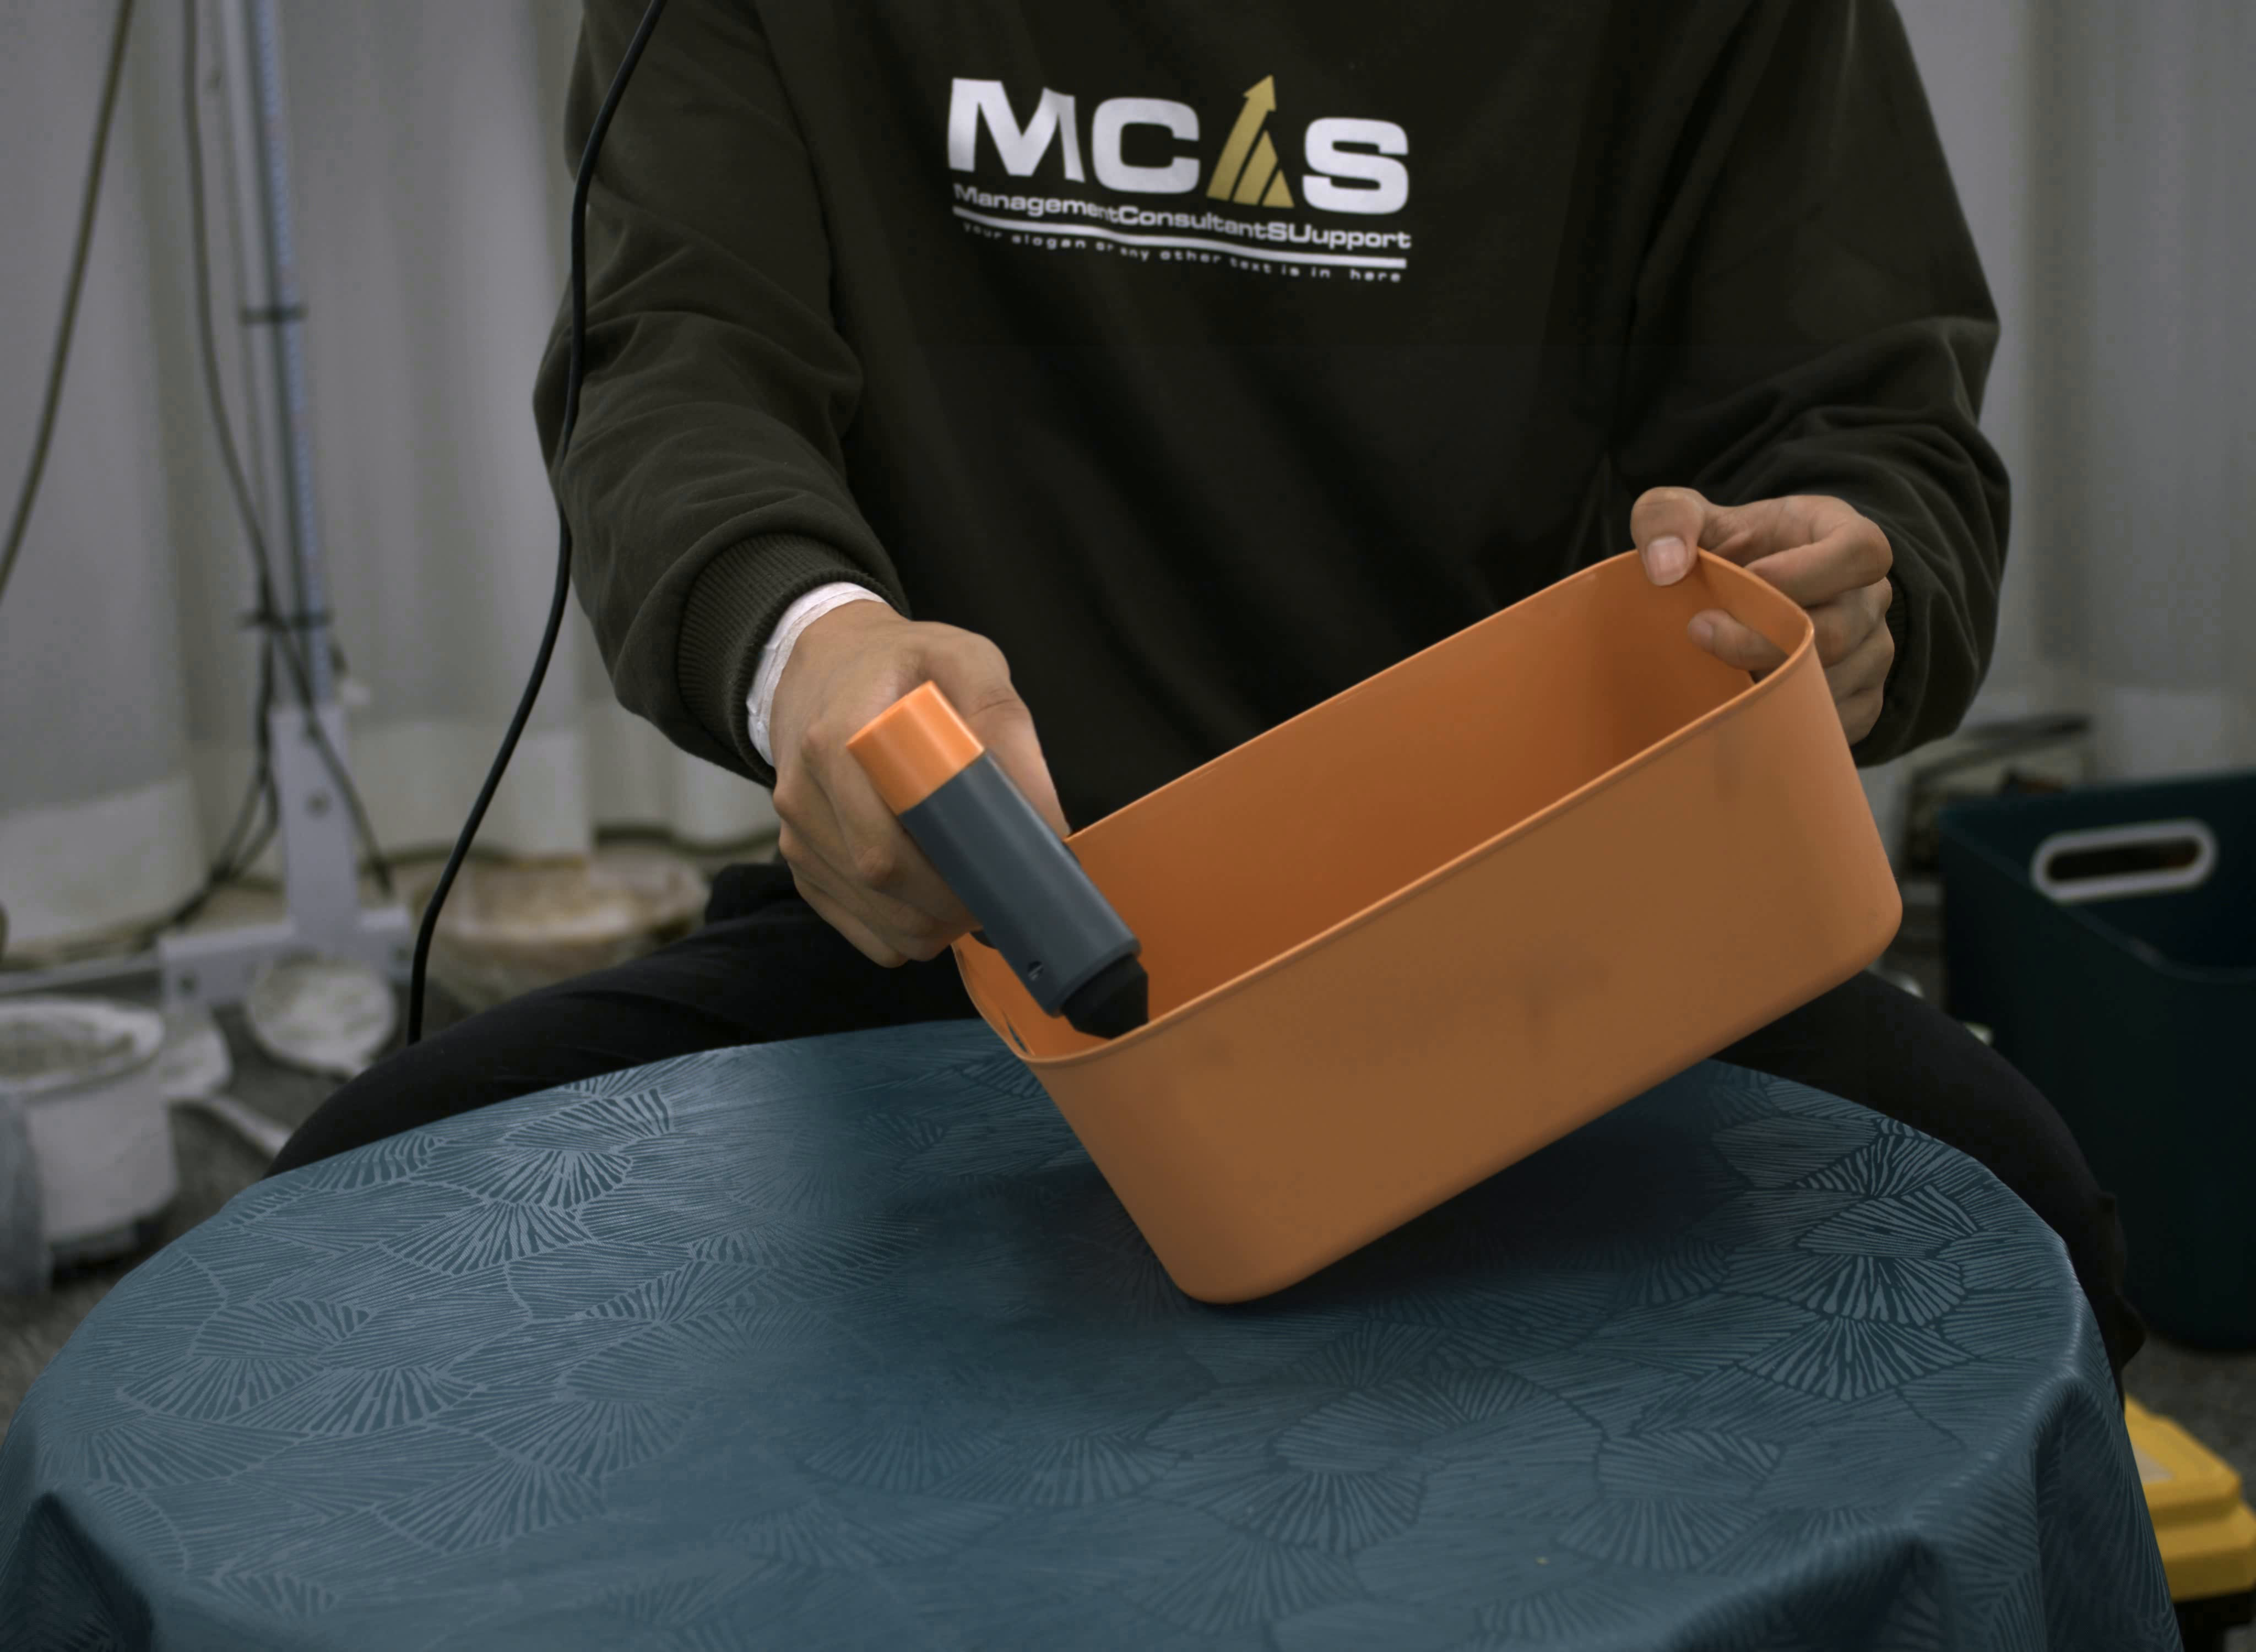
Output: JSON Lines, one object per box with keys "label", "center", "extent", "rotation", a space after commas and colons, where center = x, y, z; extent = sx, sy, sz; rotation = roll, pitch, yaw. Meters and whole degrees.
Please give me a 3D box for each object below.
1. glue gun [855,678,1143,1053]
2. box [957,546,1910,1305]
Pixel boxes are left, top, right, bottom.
{"label": "glue gun", "center": [-0.037, 0.012, 1.620], "extent": [0.041, 0.118, 0.140], "rotation": [-34, 5, -3]}
{"label": "box", "center": [0.095, 0.031, 1.669], "extent": [0.273, 0.102, 0.201], "rotation": [-29, 16, -5]}
